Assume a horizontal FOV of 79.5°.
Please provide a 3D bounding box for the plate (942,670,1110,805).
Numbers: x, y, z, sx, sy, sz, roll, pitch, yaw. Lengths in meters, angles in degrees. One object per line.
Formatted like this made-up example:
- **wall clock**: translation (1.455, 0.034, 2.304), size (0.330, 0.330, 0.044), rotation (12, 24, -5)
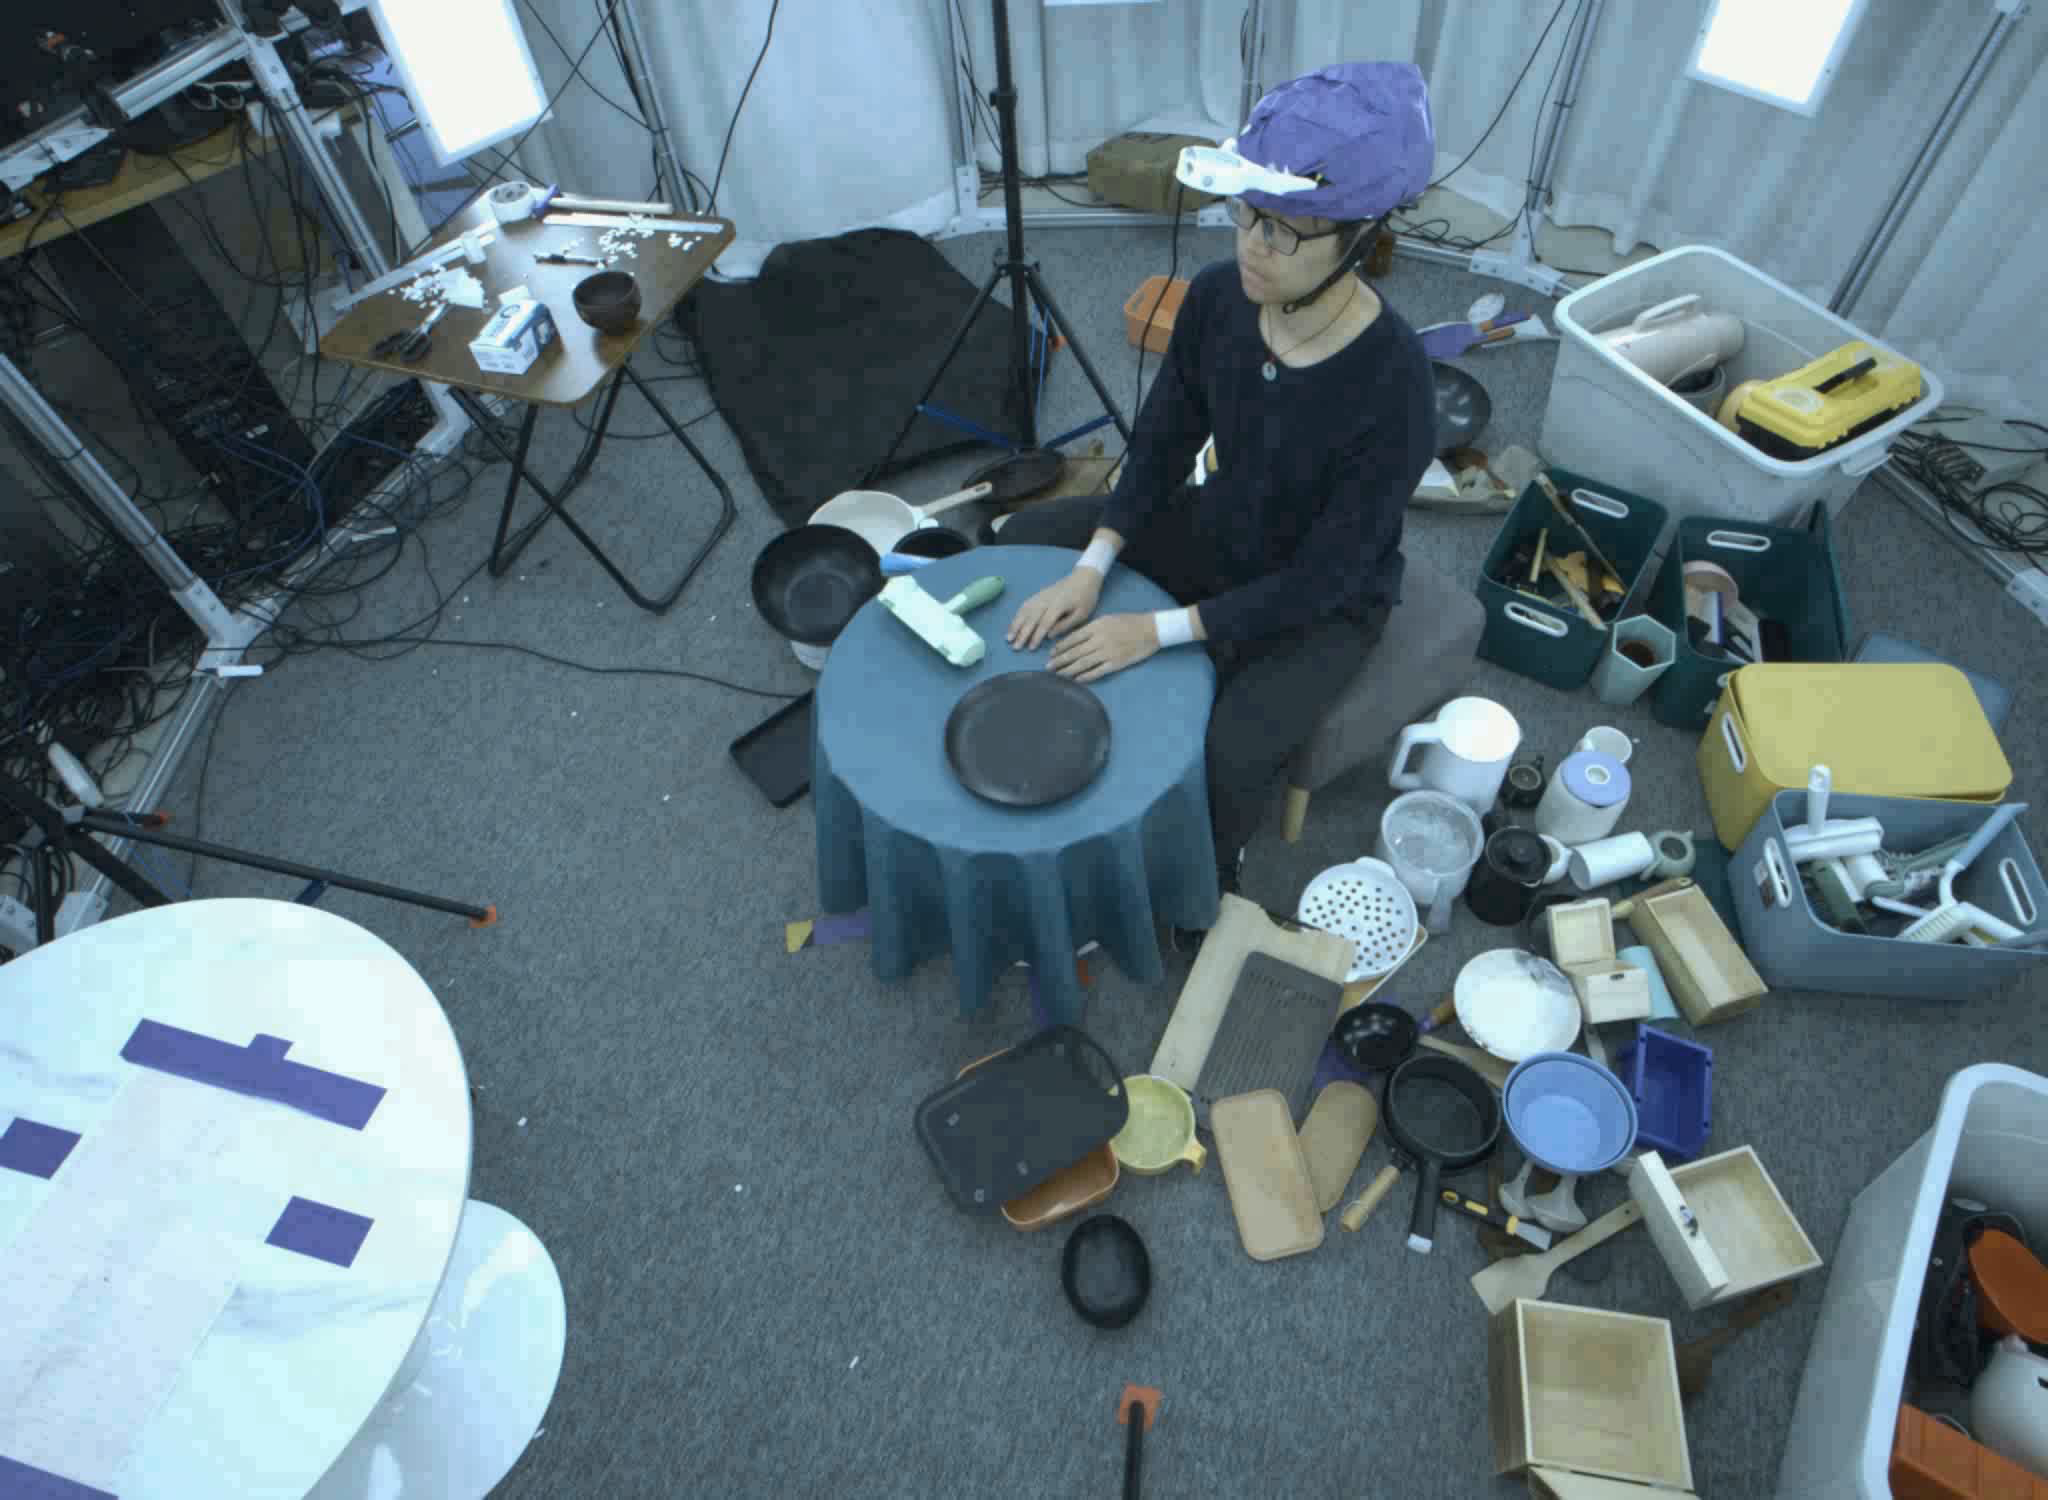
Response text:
- **plate**: translation (0.003, -0.017, 1.784), size (0.244, 0.024, 0.242), rotation (0, 55, 2)

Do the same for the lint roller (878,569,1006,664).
- **lint roller**: translation (-0.102, -0.242, 1.909), size (0.184, 0.083, 0.195), rotation (-41, 64, -16)
